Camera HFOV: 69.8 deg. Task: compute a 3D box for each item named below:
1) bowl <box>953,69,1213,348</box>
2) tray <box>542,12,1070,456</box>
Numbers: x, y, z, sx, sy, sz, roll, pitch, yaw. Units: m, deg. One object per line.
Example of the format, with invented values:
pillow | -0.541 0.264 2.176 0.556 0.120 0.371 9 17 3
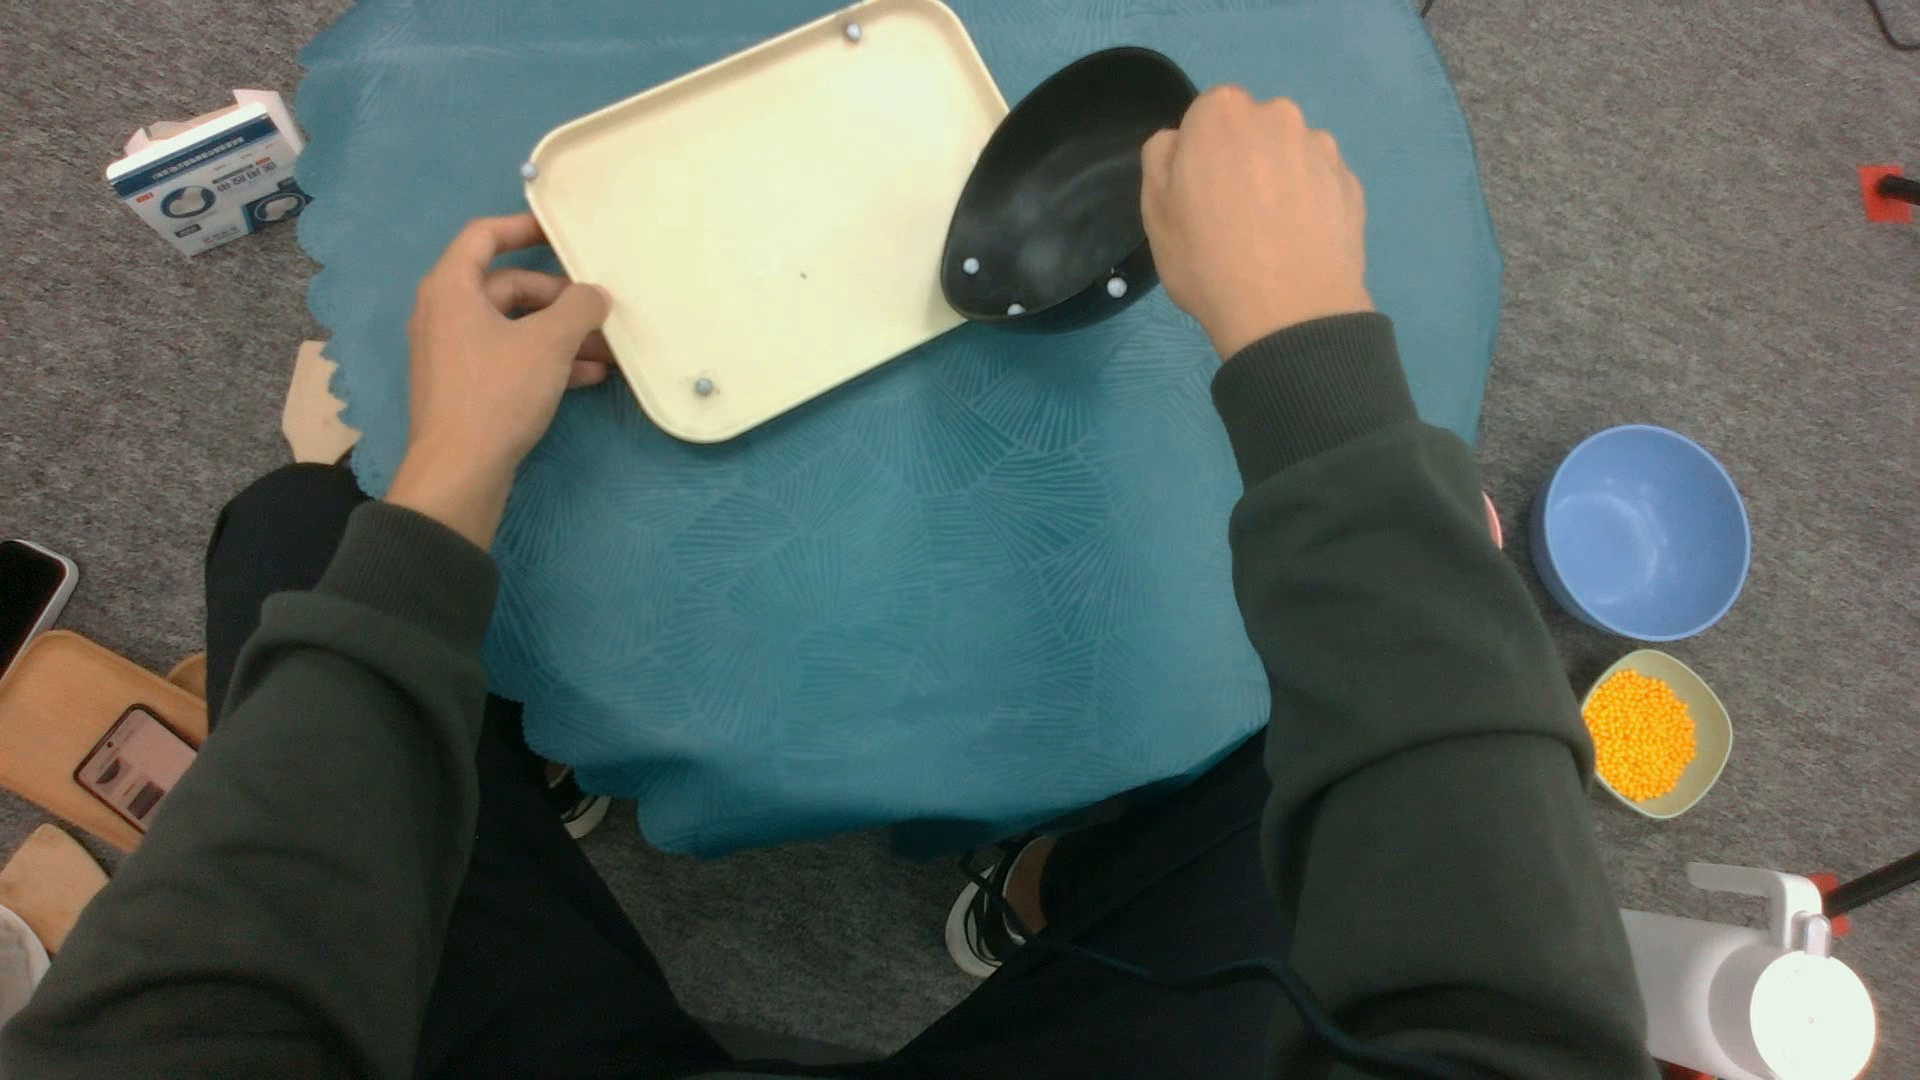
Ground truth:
bowl | 0.064 -0.147 0.668 0.067 0.170 0.137 26 74 -35
tray | -0.075 -0.159 0.706 0.240 0.017 0.171 -29 88 -14
